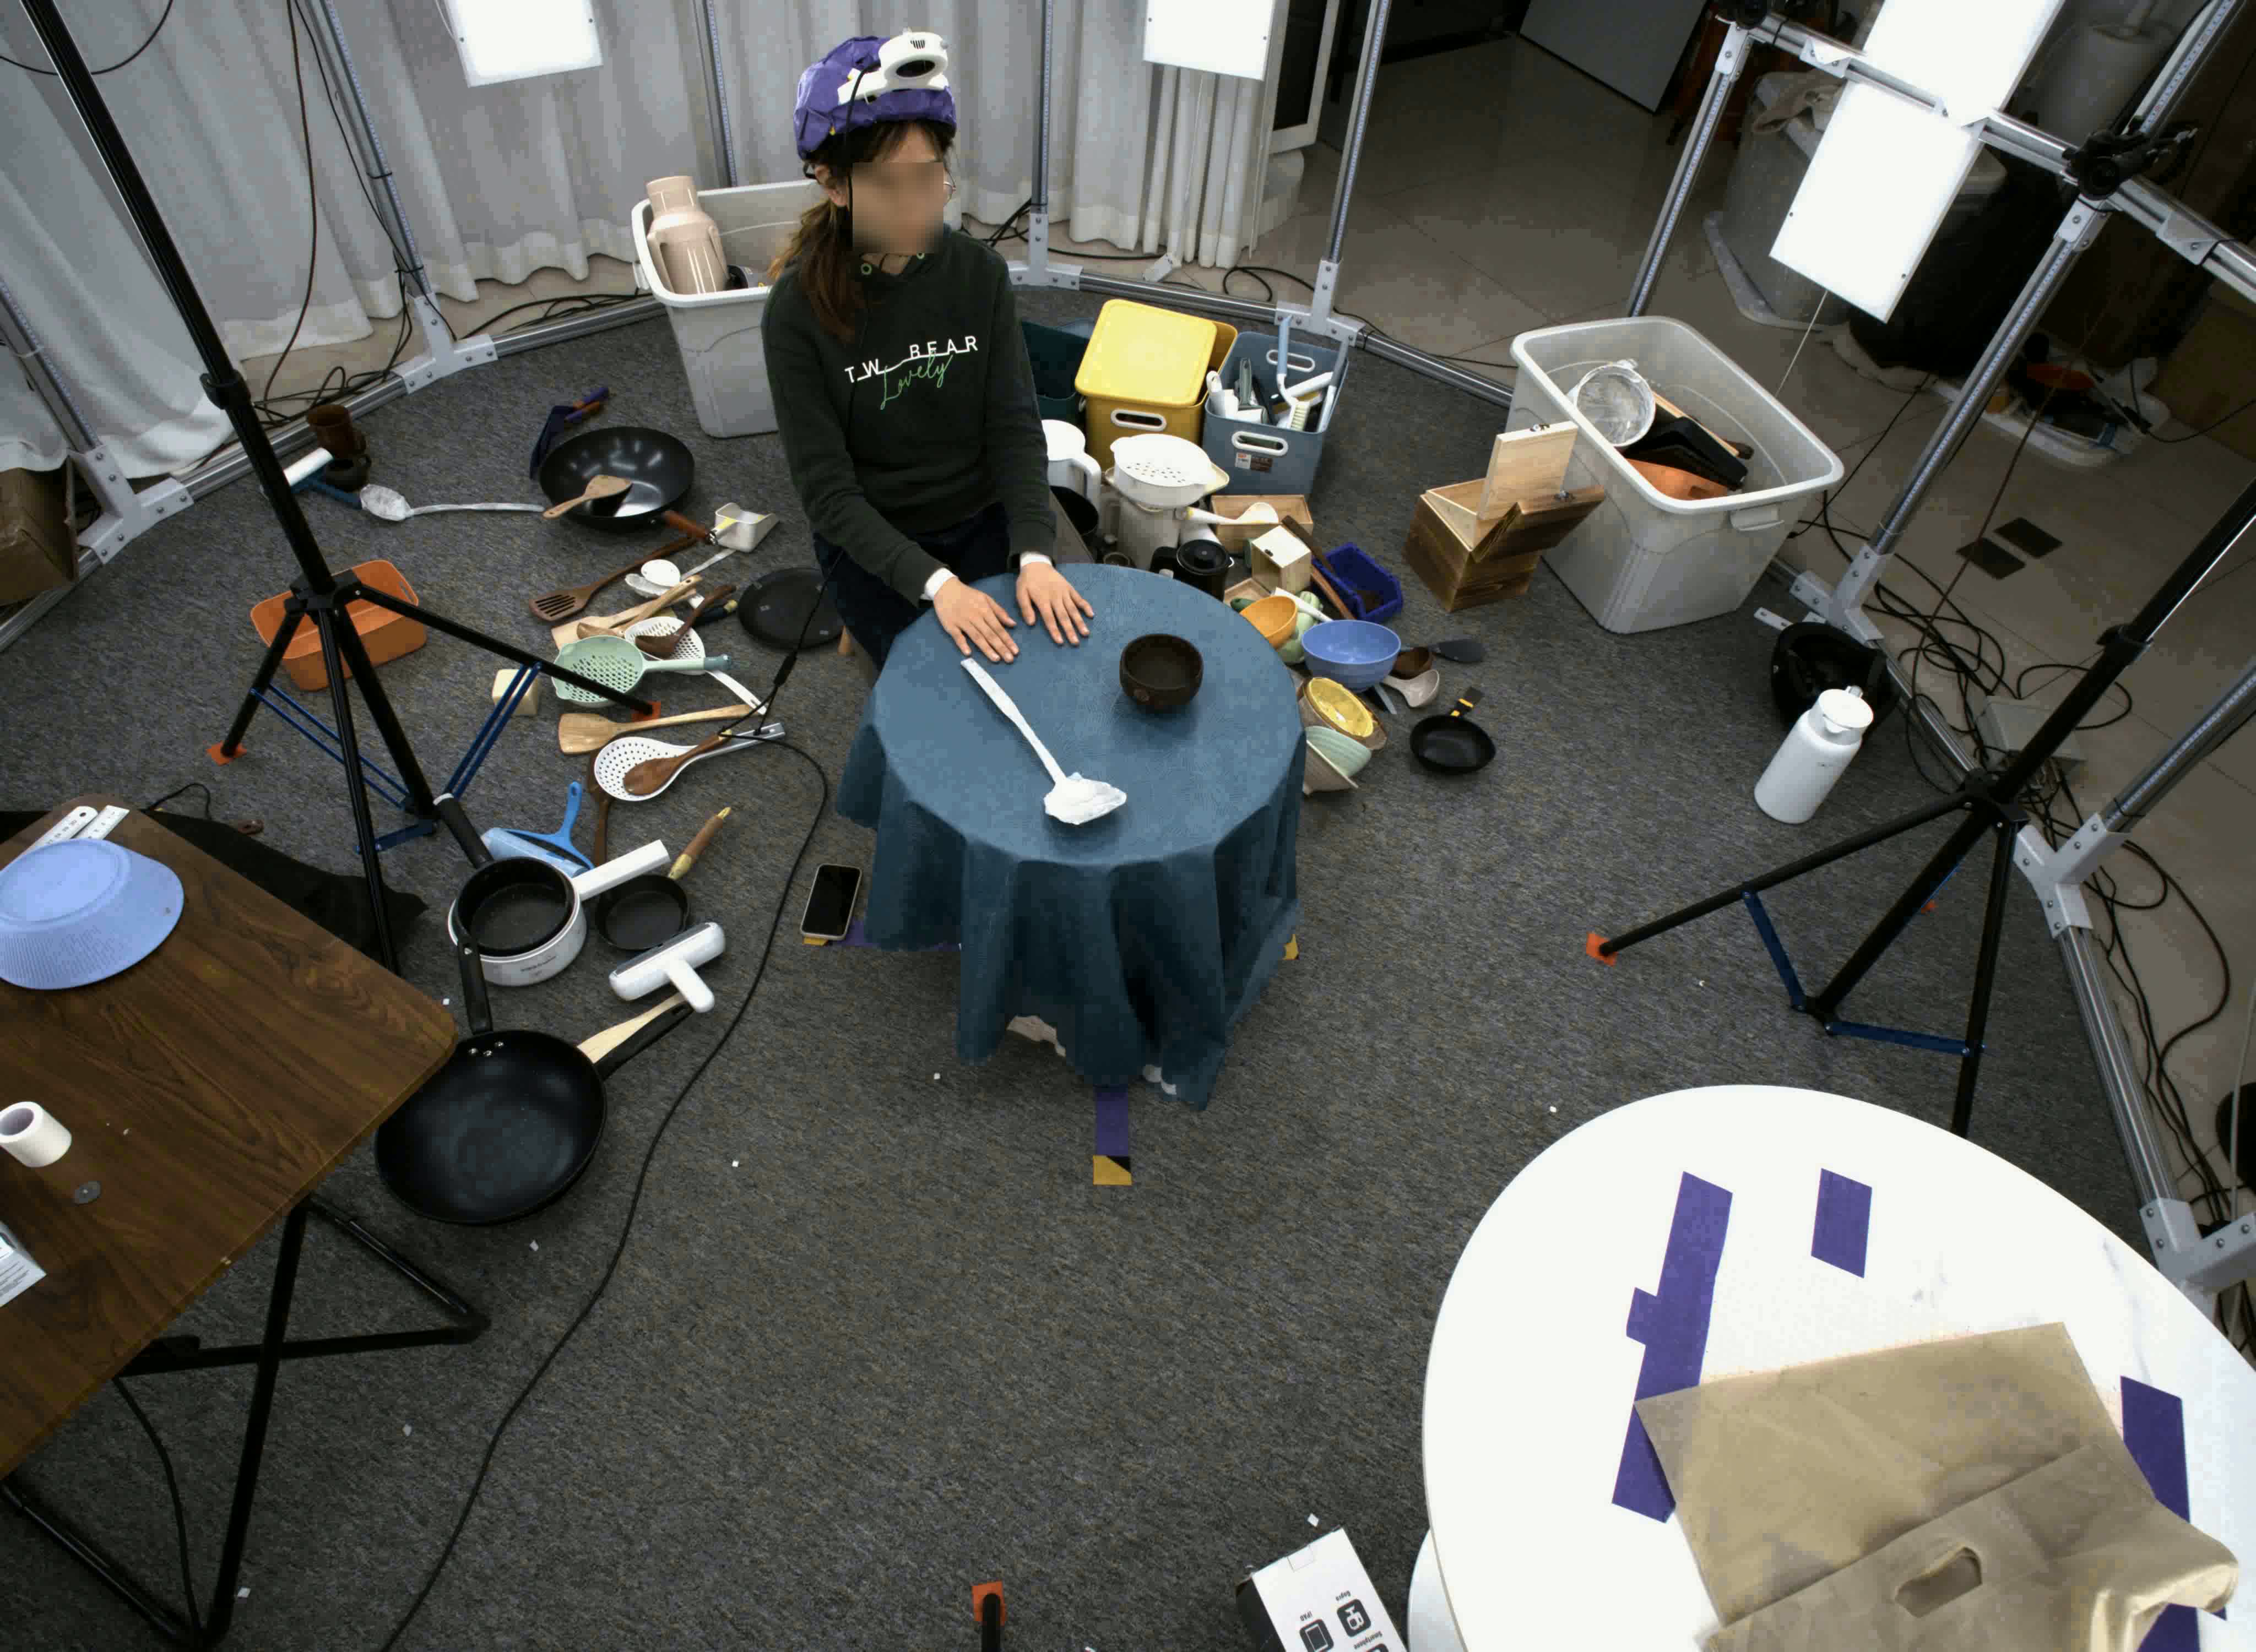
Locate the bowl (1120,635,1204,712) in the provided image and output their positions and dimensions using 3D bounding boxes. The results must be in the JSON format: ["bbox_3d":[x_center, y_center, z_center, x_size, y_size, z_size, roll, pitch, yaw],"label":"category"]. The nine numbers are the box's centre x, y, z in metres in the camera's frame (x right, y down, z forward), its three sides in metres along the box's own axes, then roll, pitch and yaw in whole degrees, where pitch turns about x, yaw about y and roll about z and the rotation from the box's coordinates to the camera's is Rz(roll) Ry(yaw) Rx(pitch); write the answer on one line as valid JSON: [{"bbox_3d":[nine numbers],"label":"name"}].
[{"bbox_3d":[0.046,-0.209,1.823,0.118,0.068,0.121,2,47,-3],"label":"bowl"}]

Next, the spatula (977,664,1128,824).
[{"bbox_3d":[-0.126,-0.124,1.758,0.099,0.043,0.372,-23,54,-20],"label":"spatula"}]
